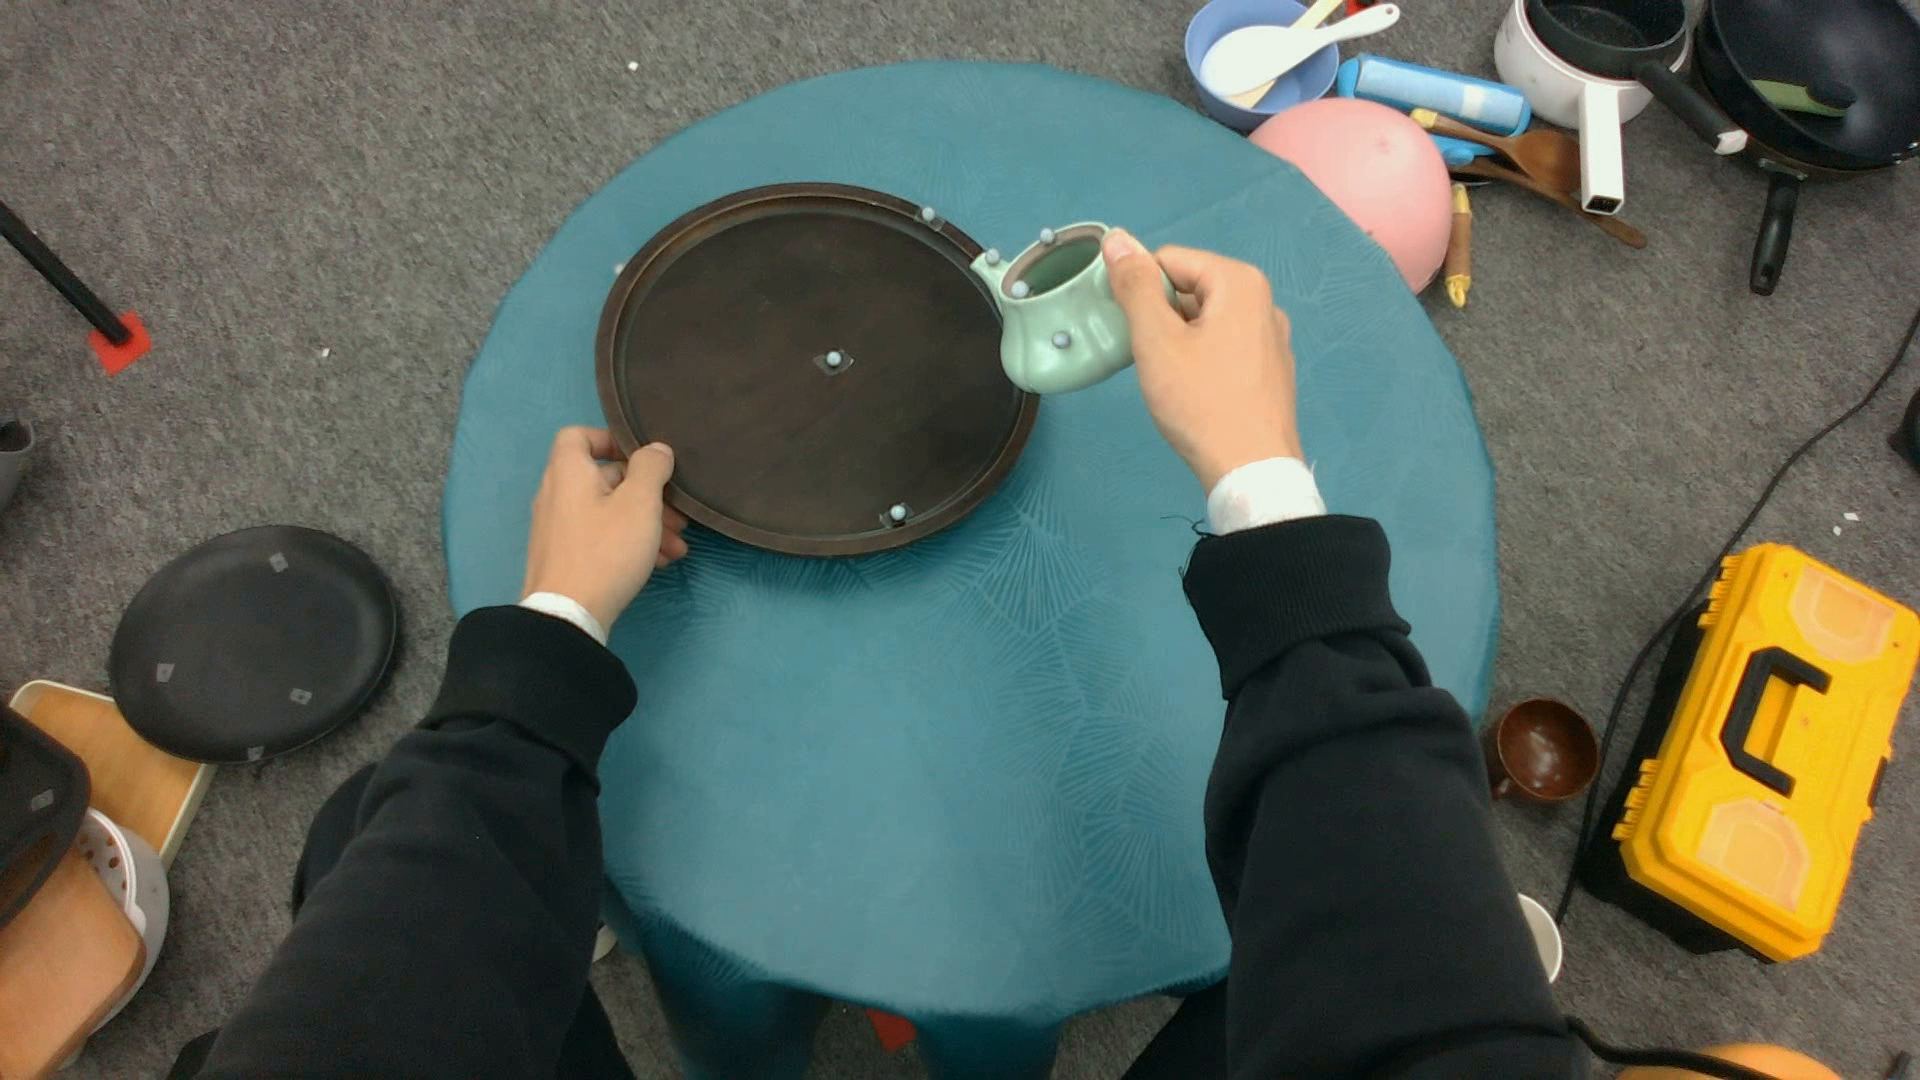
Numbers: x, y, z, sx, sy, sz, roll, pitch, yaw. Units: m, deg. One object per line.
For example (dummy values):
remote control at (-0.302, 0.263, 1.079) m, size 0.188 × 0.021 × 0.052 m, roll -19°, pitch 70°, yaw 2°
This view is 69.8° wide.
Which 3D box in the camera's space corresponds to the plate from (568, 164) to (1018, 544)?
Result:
plate at (-0.092, -0.110, 0.785) m, size 0.255 × 0.029 × 0.256 m, roll 4°, pitch 62°, yaw -8°

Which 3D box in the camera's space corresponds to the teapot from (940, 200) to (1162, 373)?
teapot at (0.049, -0.127, 0.676) m, size 0.136 × 0.061 × 0.096 m, roll 11°, pitch 54°, yaw 50°
